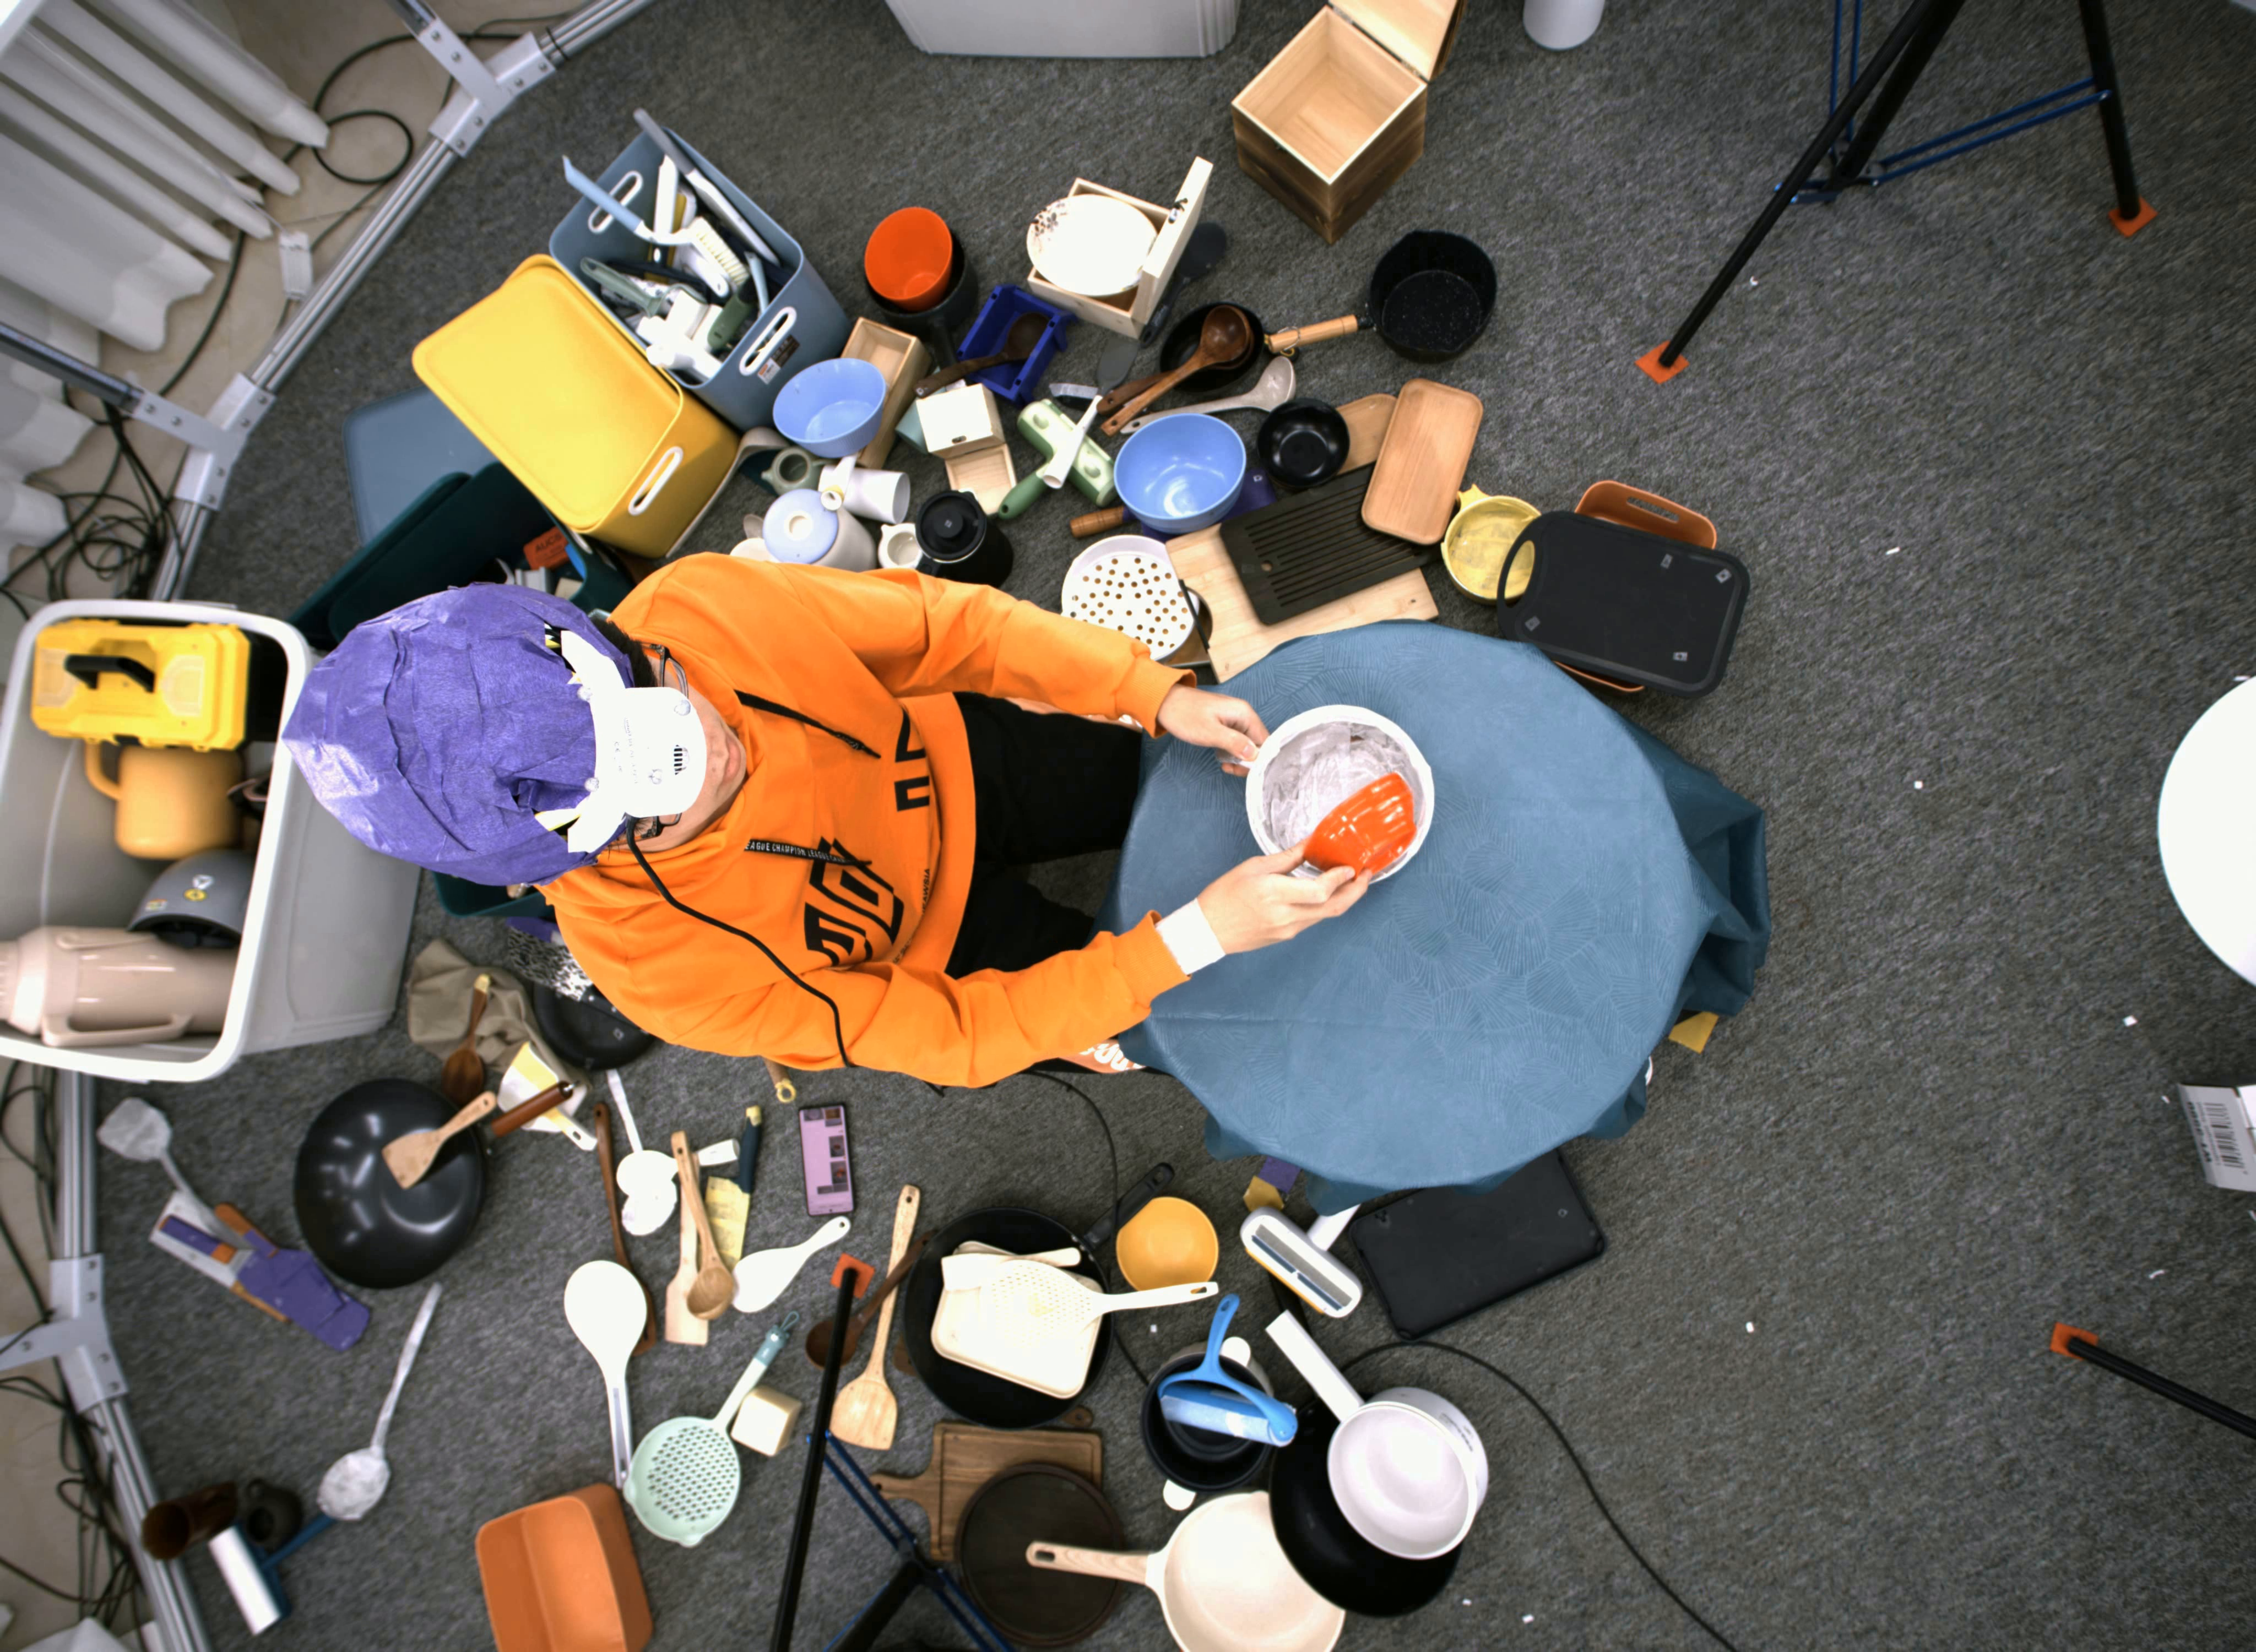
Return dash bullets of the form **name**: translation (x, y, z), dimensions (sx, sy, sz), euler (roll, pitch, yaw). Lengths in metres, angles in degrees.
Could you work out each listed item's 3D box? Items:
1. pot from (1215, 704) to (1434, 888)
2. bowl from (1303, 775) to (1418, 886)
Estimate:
- **pot**: translation (0.190, -0.039, 1.383), dimensions (0.233, 0.136, 0.180), euler (24, 97, 13)
- **bowl**: translation (0.220, 0.010, 1.255), dimensions (0.119, 0.119, 0.051), euler (-39, 71, 5)
